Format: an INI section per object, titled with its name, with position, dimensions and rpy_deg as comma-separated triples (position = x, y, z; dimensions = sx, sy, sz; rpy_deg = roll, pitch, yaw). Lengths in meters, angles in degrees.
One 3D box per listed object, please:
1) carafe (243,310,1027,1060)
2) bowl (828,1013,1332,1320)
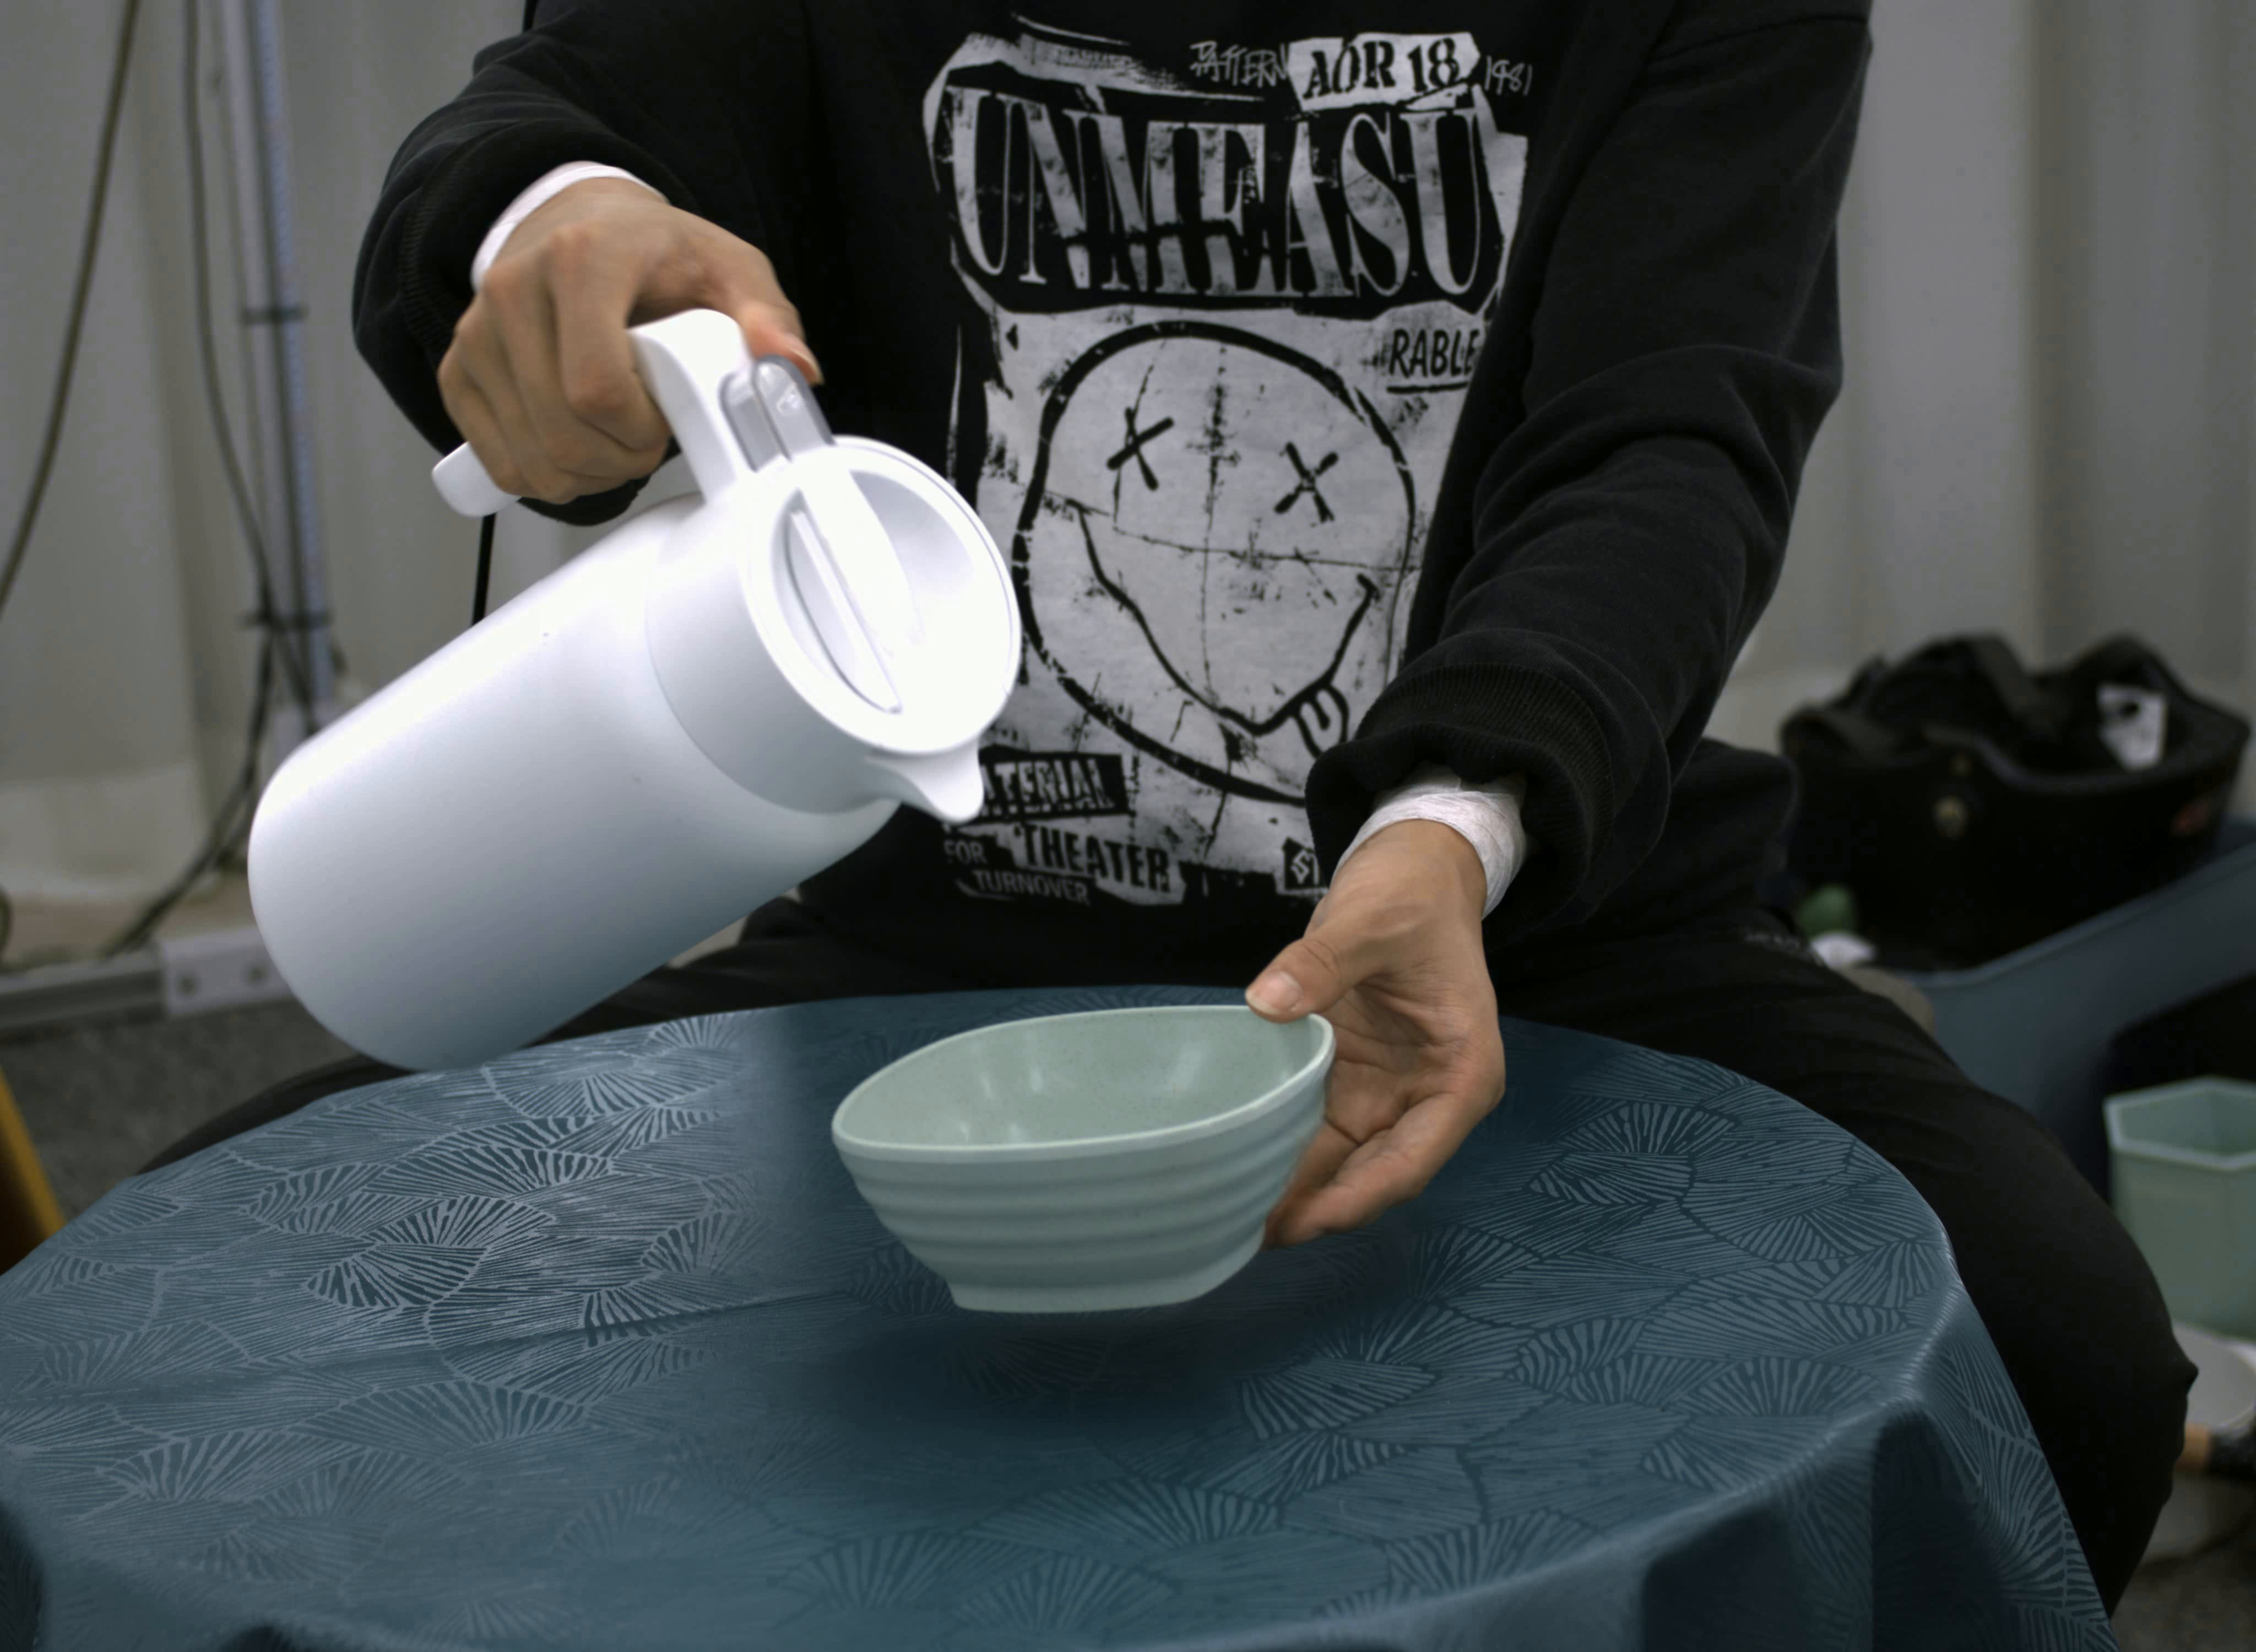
[carafe]
position = -0.158, -0.037, 1.636
dimensions = 0.124, 0.173, 0.268
rpy_deg = -24, -3, -43
[bowl]
position = -0.010, 0.100, 1.554
dimensions = 0.151, 0.058, 0.152
rpy_deg = -7, 12, 1
